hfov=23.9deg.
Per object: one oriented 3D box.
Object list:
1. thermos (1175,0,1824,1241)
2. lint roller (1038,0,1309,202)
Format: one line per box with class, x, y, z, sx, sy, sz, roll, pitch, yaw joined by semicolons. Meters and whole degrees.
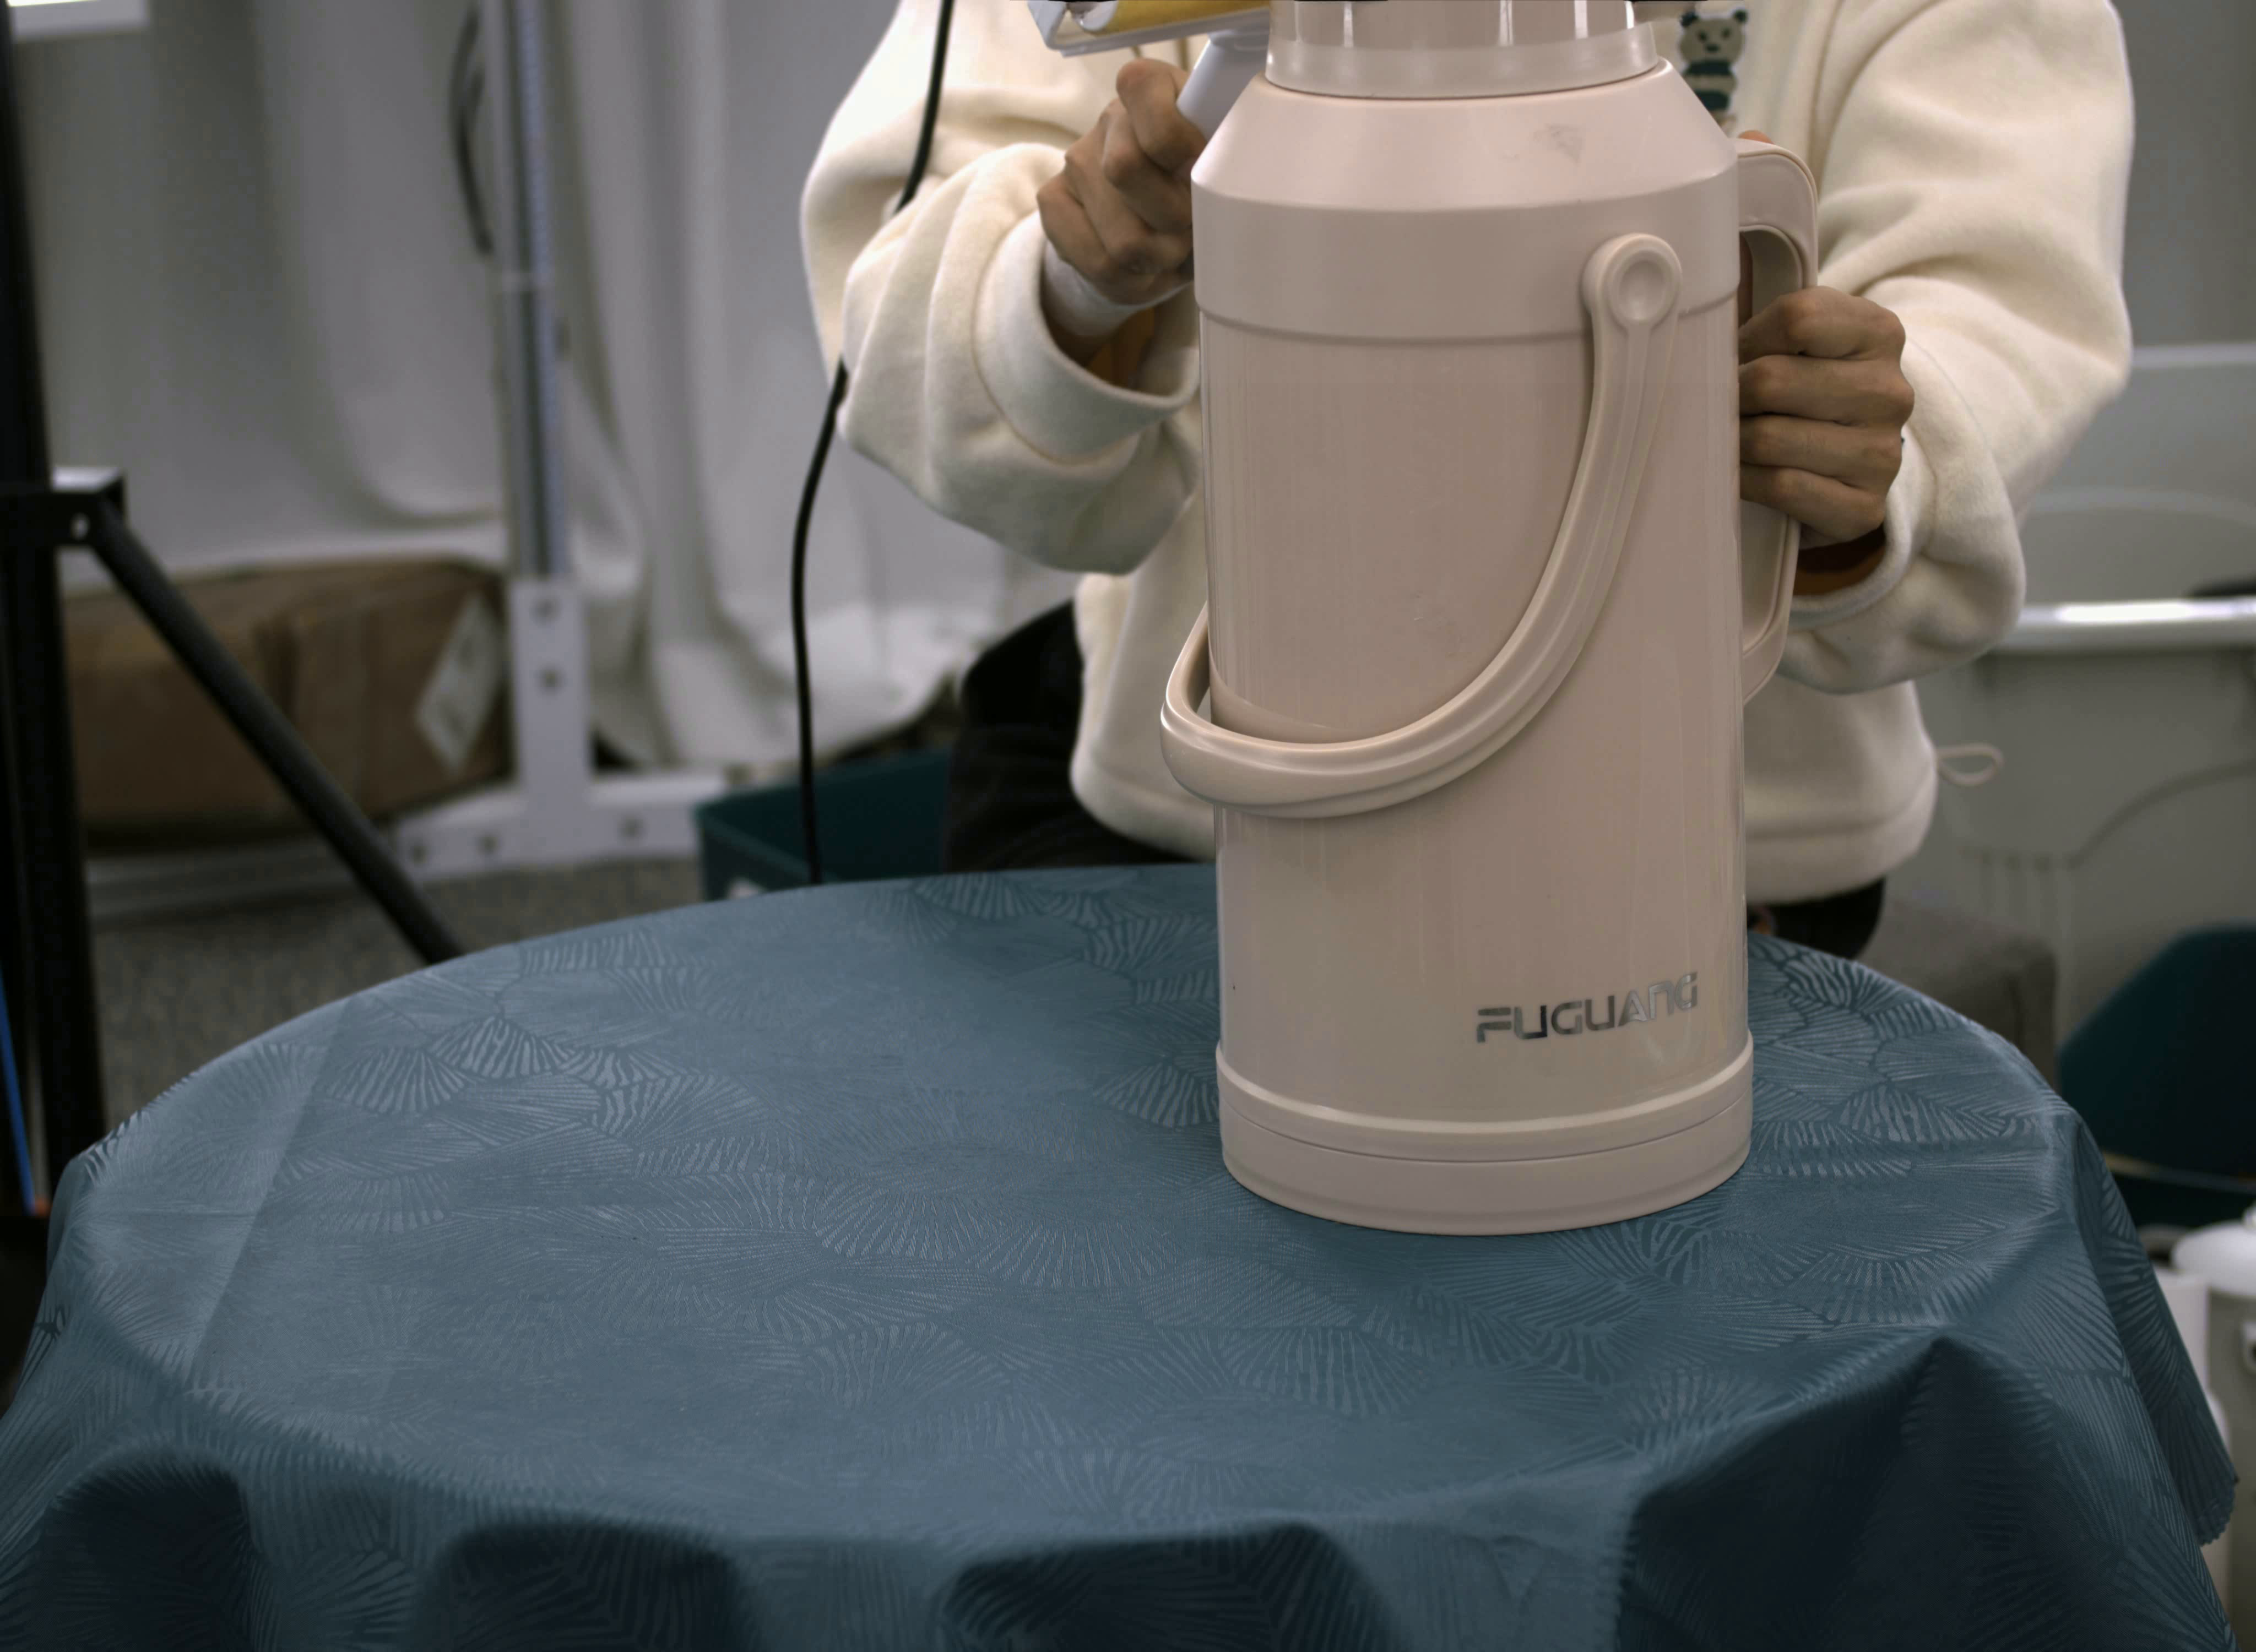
thermos;0.112;-0.096;1.536;0.202;0.406;0.179;-10;16;-28
lint roller;0.031;-0.247;1.620;0.171;0.052;0.194;-13;-9;-26
